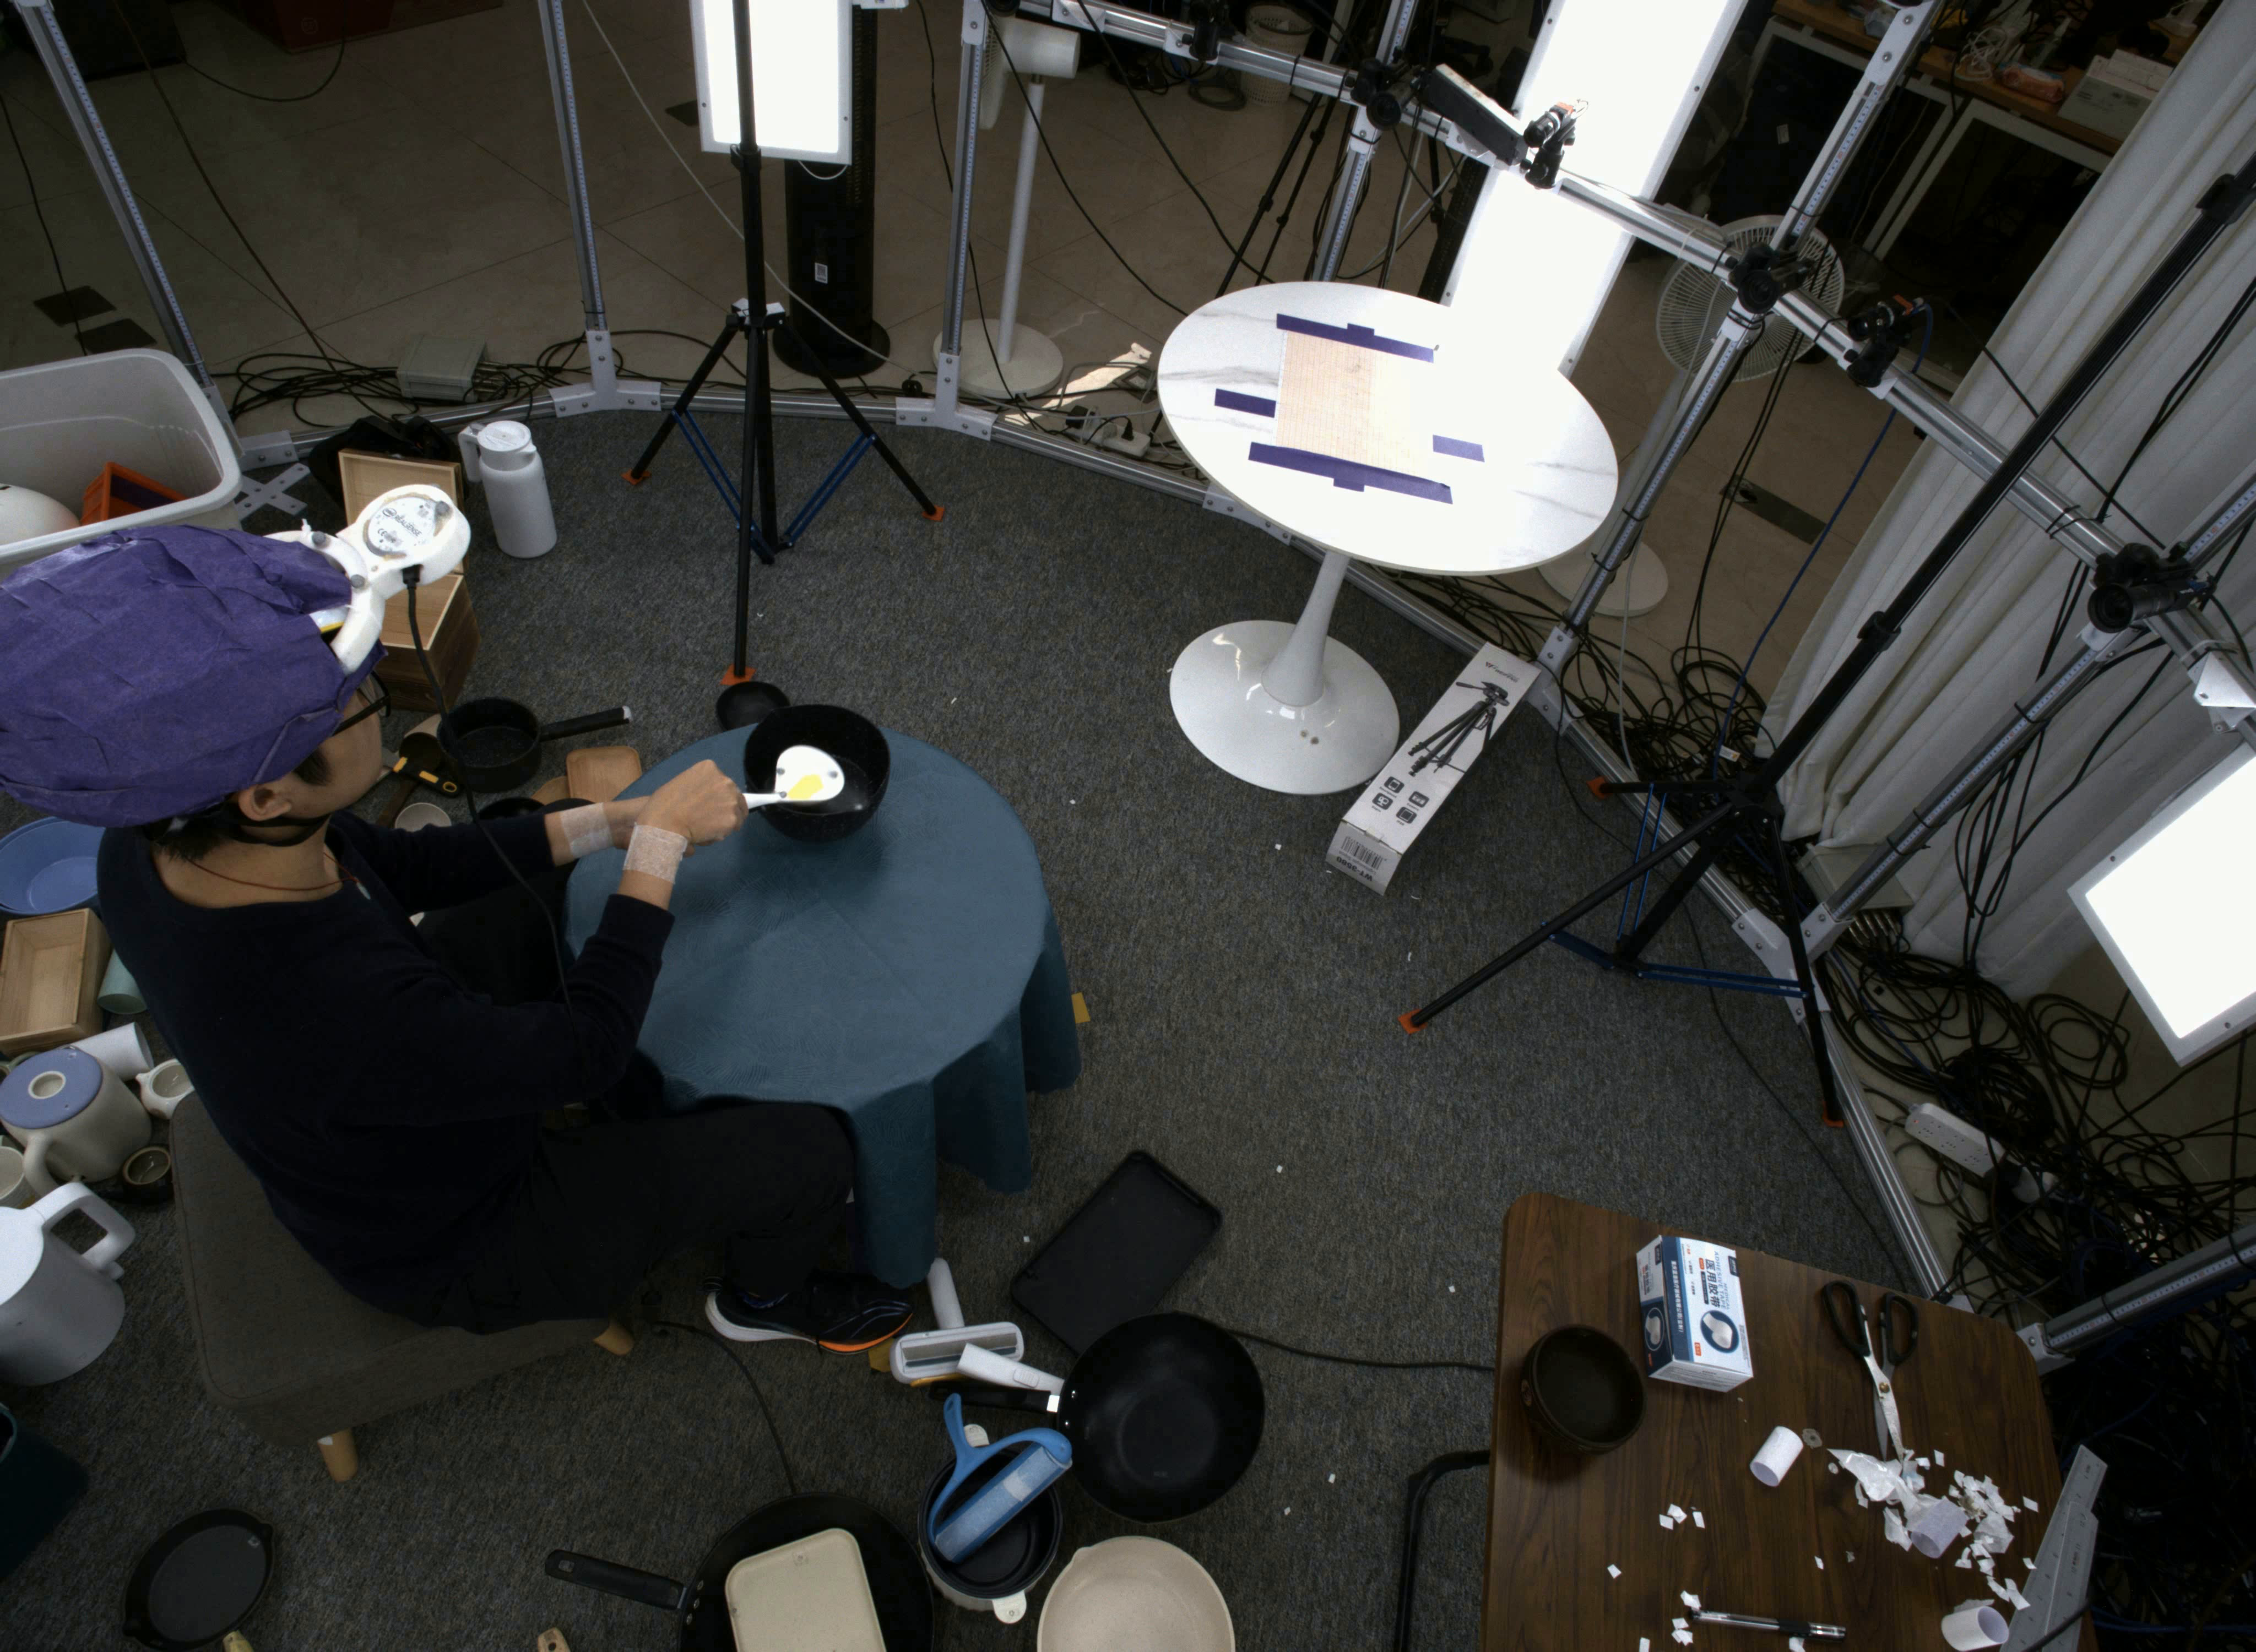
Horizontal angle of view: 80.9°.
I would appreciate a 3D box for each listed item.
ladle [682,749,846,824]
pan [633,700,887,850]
[{"bbox_3d":[-0.426,-0.044,1.527,0.090,0.070,0.294,47,11,4],"label":"ladle"},{"bbox_3d":[-0.456,-0.032,1.610,0.203,0.110,0.344,44,54,17],"label":"pan"}]
